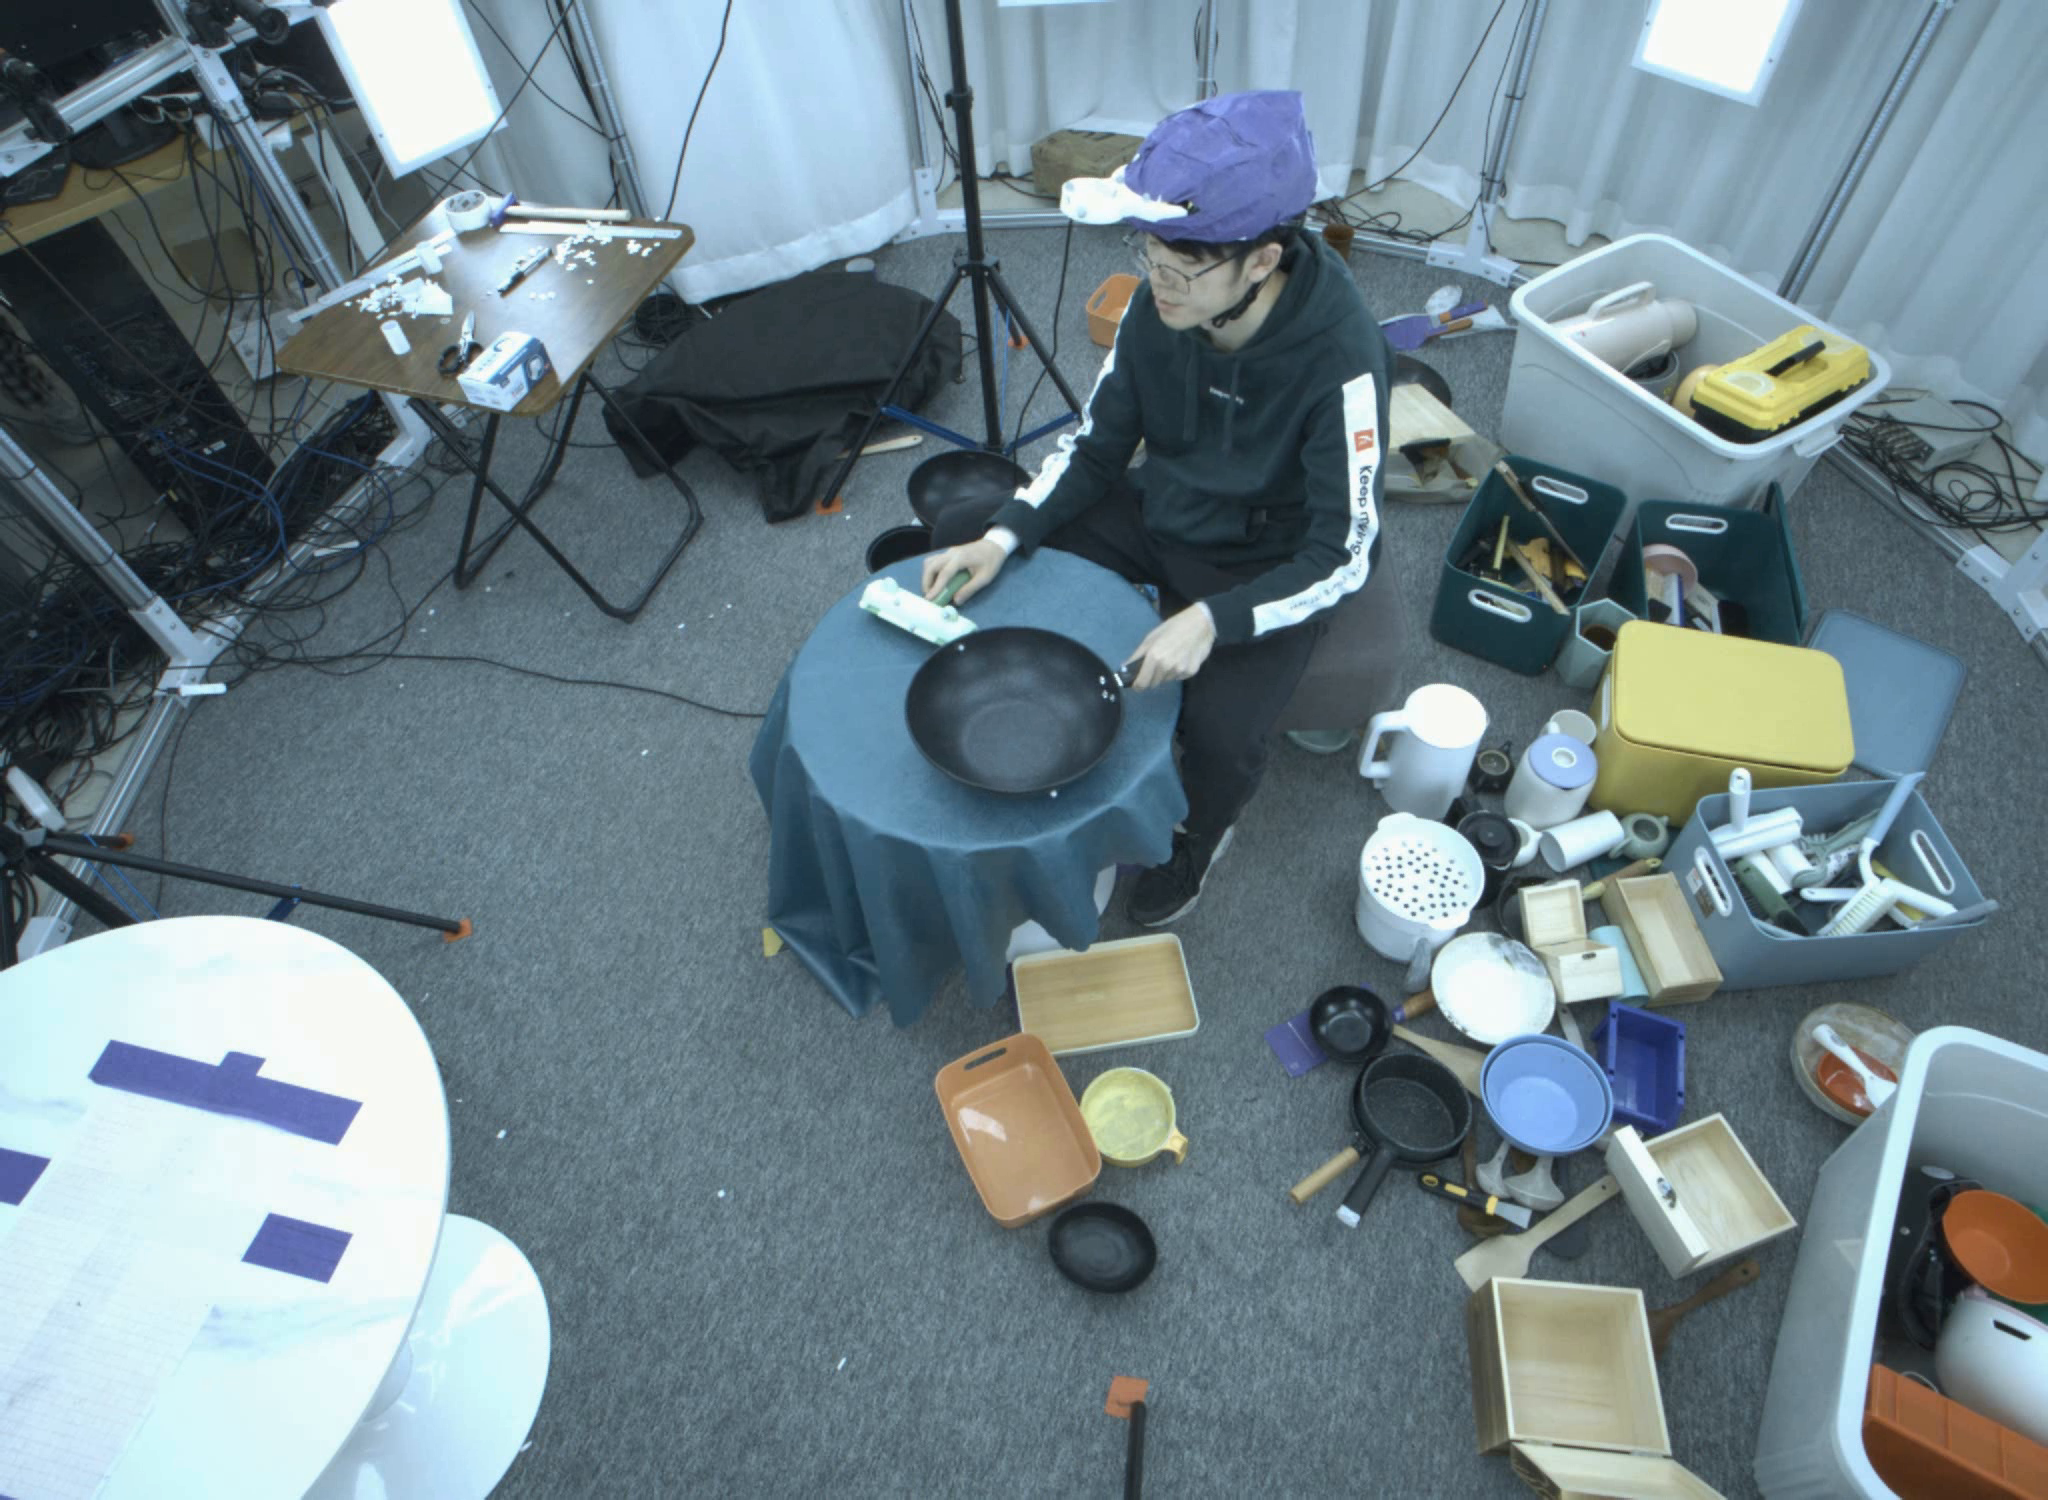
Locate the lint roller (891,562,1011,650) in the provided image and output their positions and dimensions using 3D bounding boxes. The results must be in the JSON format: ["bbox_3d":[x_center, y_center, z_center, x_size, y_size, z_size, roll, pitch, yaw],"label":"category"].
[{"bbox_3d":[-0.082,-0.250,1.918,0.195,0.083,0.184,29,65,21],"label":"lint roller"}]

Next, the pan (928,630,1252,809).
[{"bbox_3d":[0.100,-0.058,1.756,0.481,0.112,0.305,-15,56,-14],"label":"pan"}]
